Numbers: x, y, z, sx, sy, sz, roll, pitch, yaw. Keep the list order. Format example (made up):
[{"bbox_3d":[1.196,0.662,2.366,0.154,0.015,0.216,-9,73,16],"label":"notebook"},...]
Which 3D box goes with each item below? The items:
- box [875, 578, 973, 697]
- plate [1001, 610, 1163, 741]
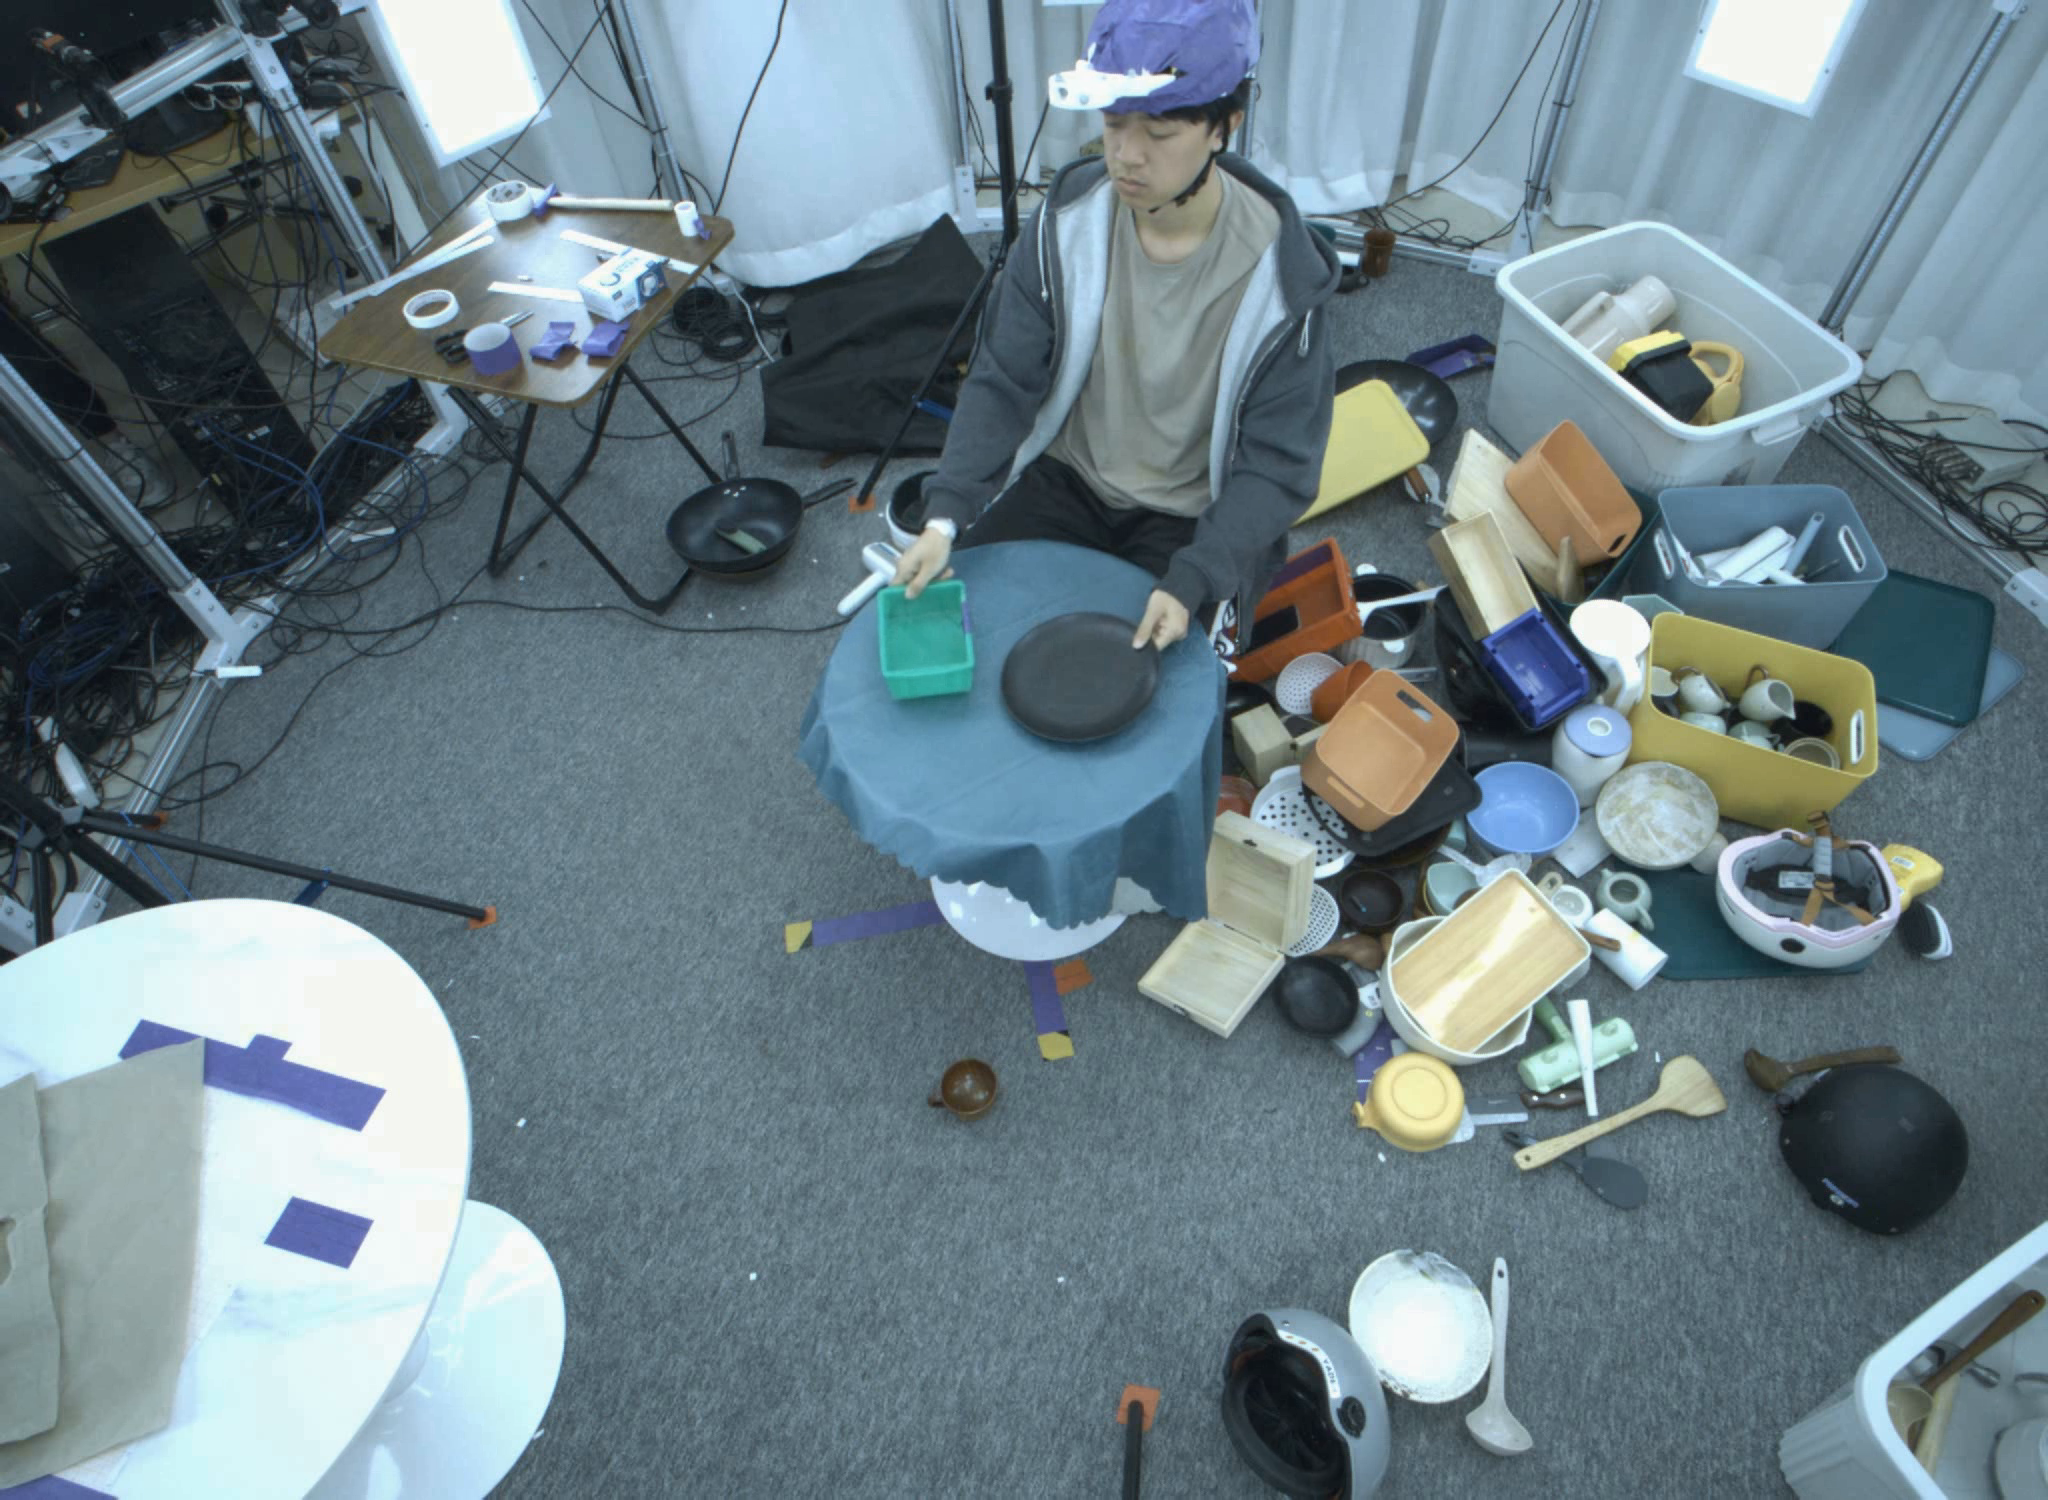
[{"bbox_3d":[-0.151,-0.170,1.866,0.139,0.066,0.207,-6,47,-5],"label":"box"},{"bbox_3d":[0.086,-0.109,1.838,0.243,0.024,0.242,-4,56,7],"label":"plate"}]
